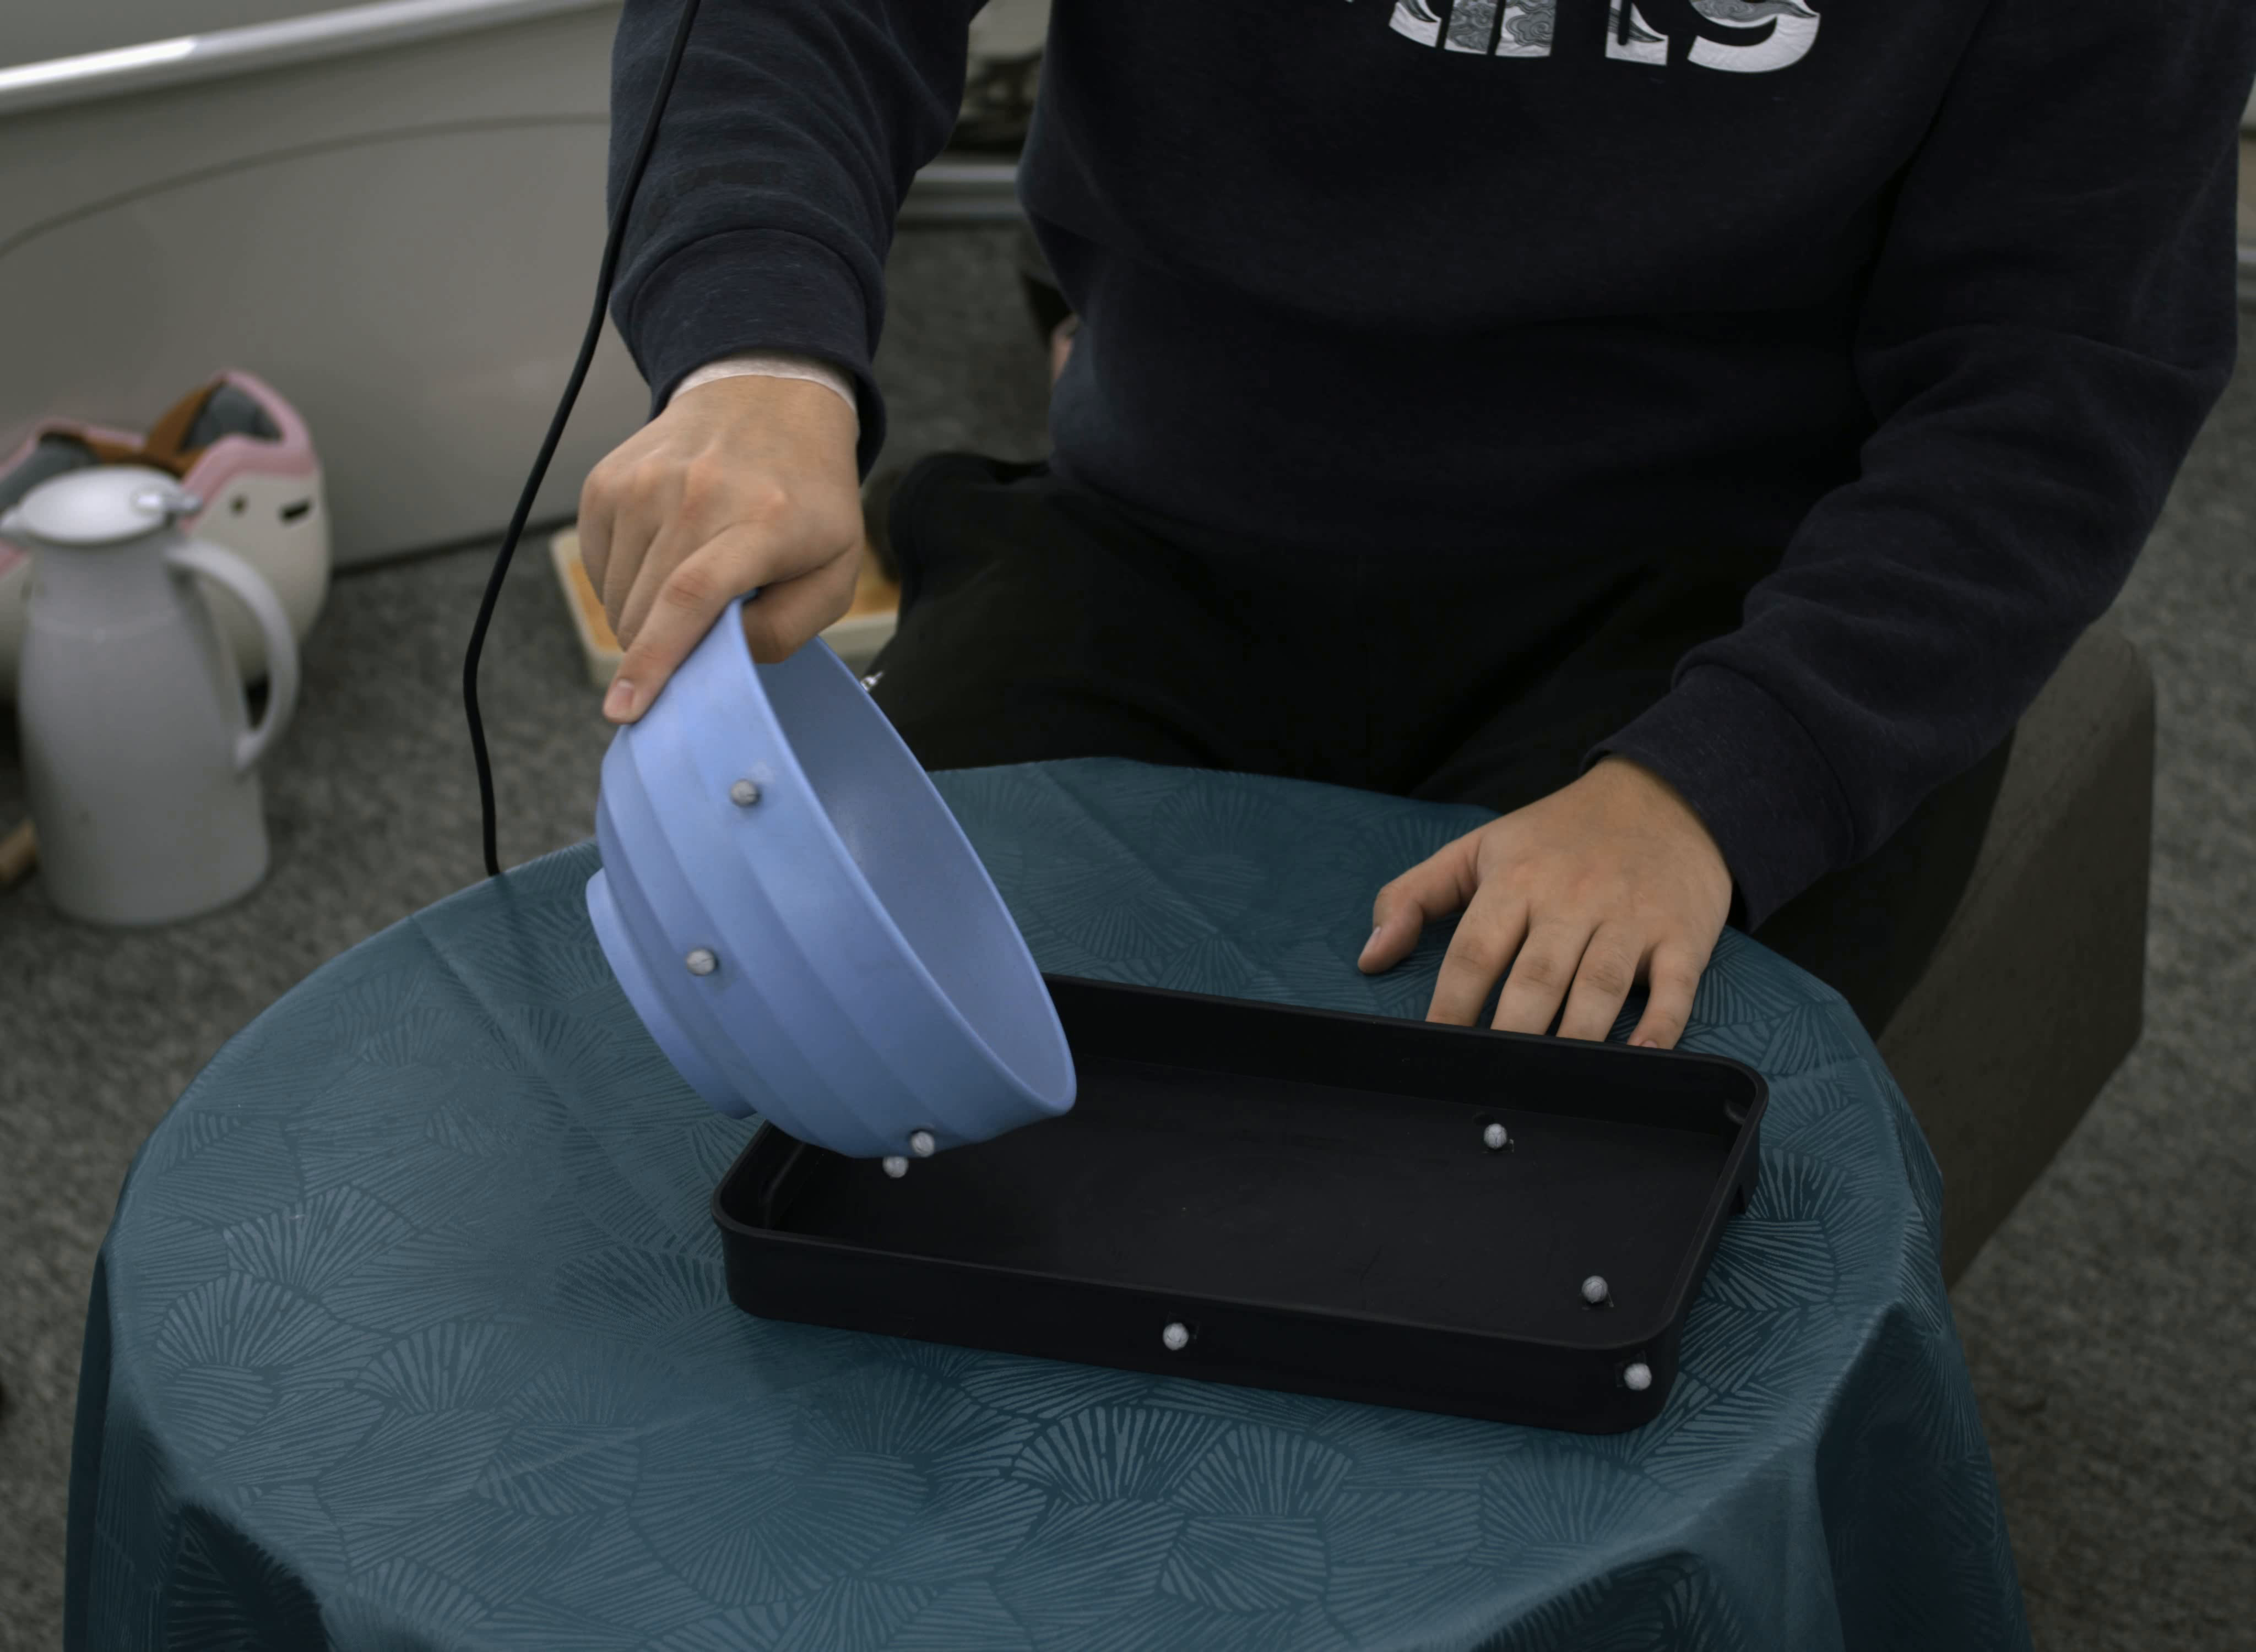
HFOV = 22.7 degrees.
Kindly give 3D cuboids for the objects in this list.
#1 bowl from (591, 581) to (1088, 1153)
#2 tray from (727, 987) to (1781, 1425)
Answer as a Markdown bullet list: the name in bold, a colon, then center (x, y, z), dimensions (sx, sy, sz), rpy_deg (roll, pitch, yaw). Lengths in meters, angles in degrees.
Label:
- **bowl**: center (-0.107, 0.029, 1.790), dimensions (0.095, 0.195, 0.199), rpy_deg (-33, 25, 11)
- **tray**: center (0.043, 0.119, 1.831), dimensions (0.316, 0.036, 0.187), rpy_deg (4, 28, 16)
